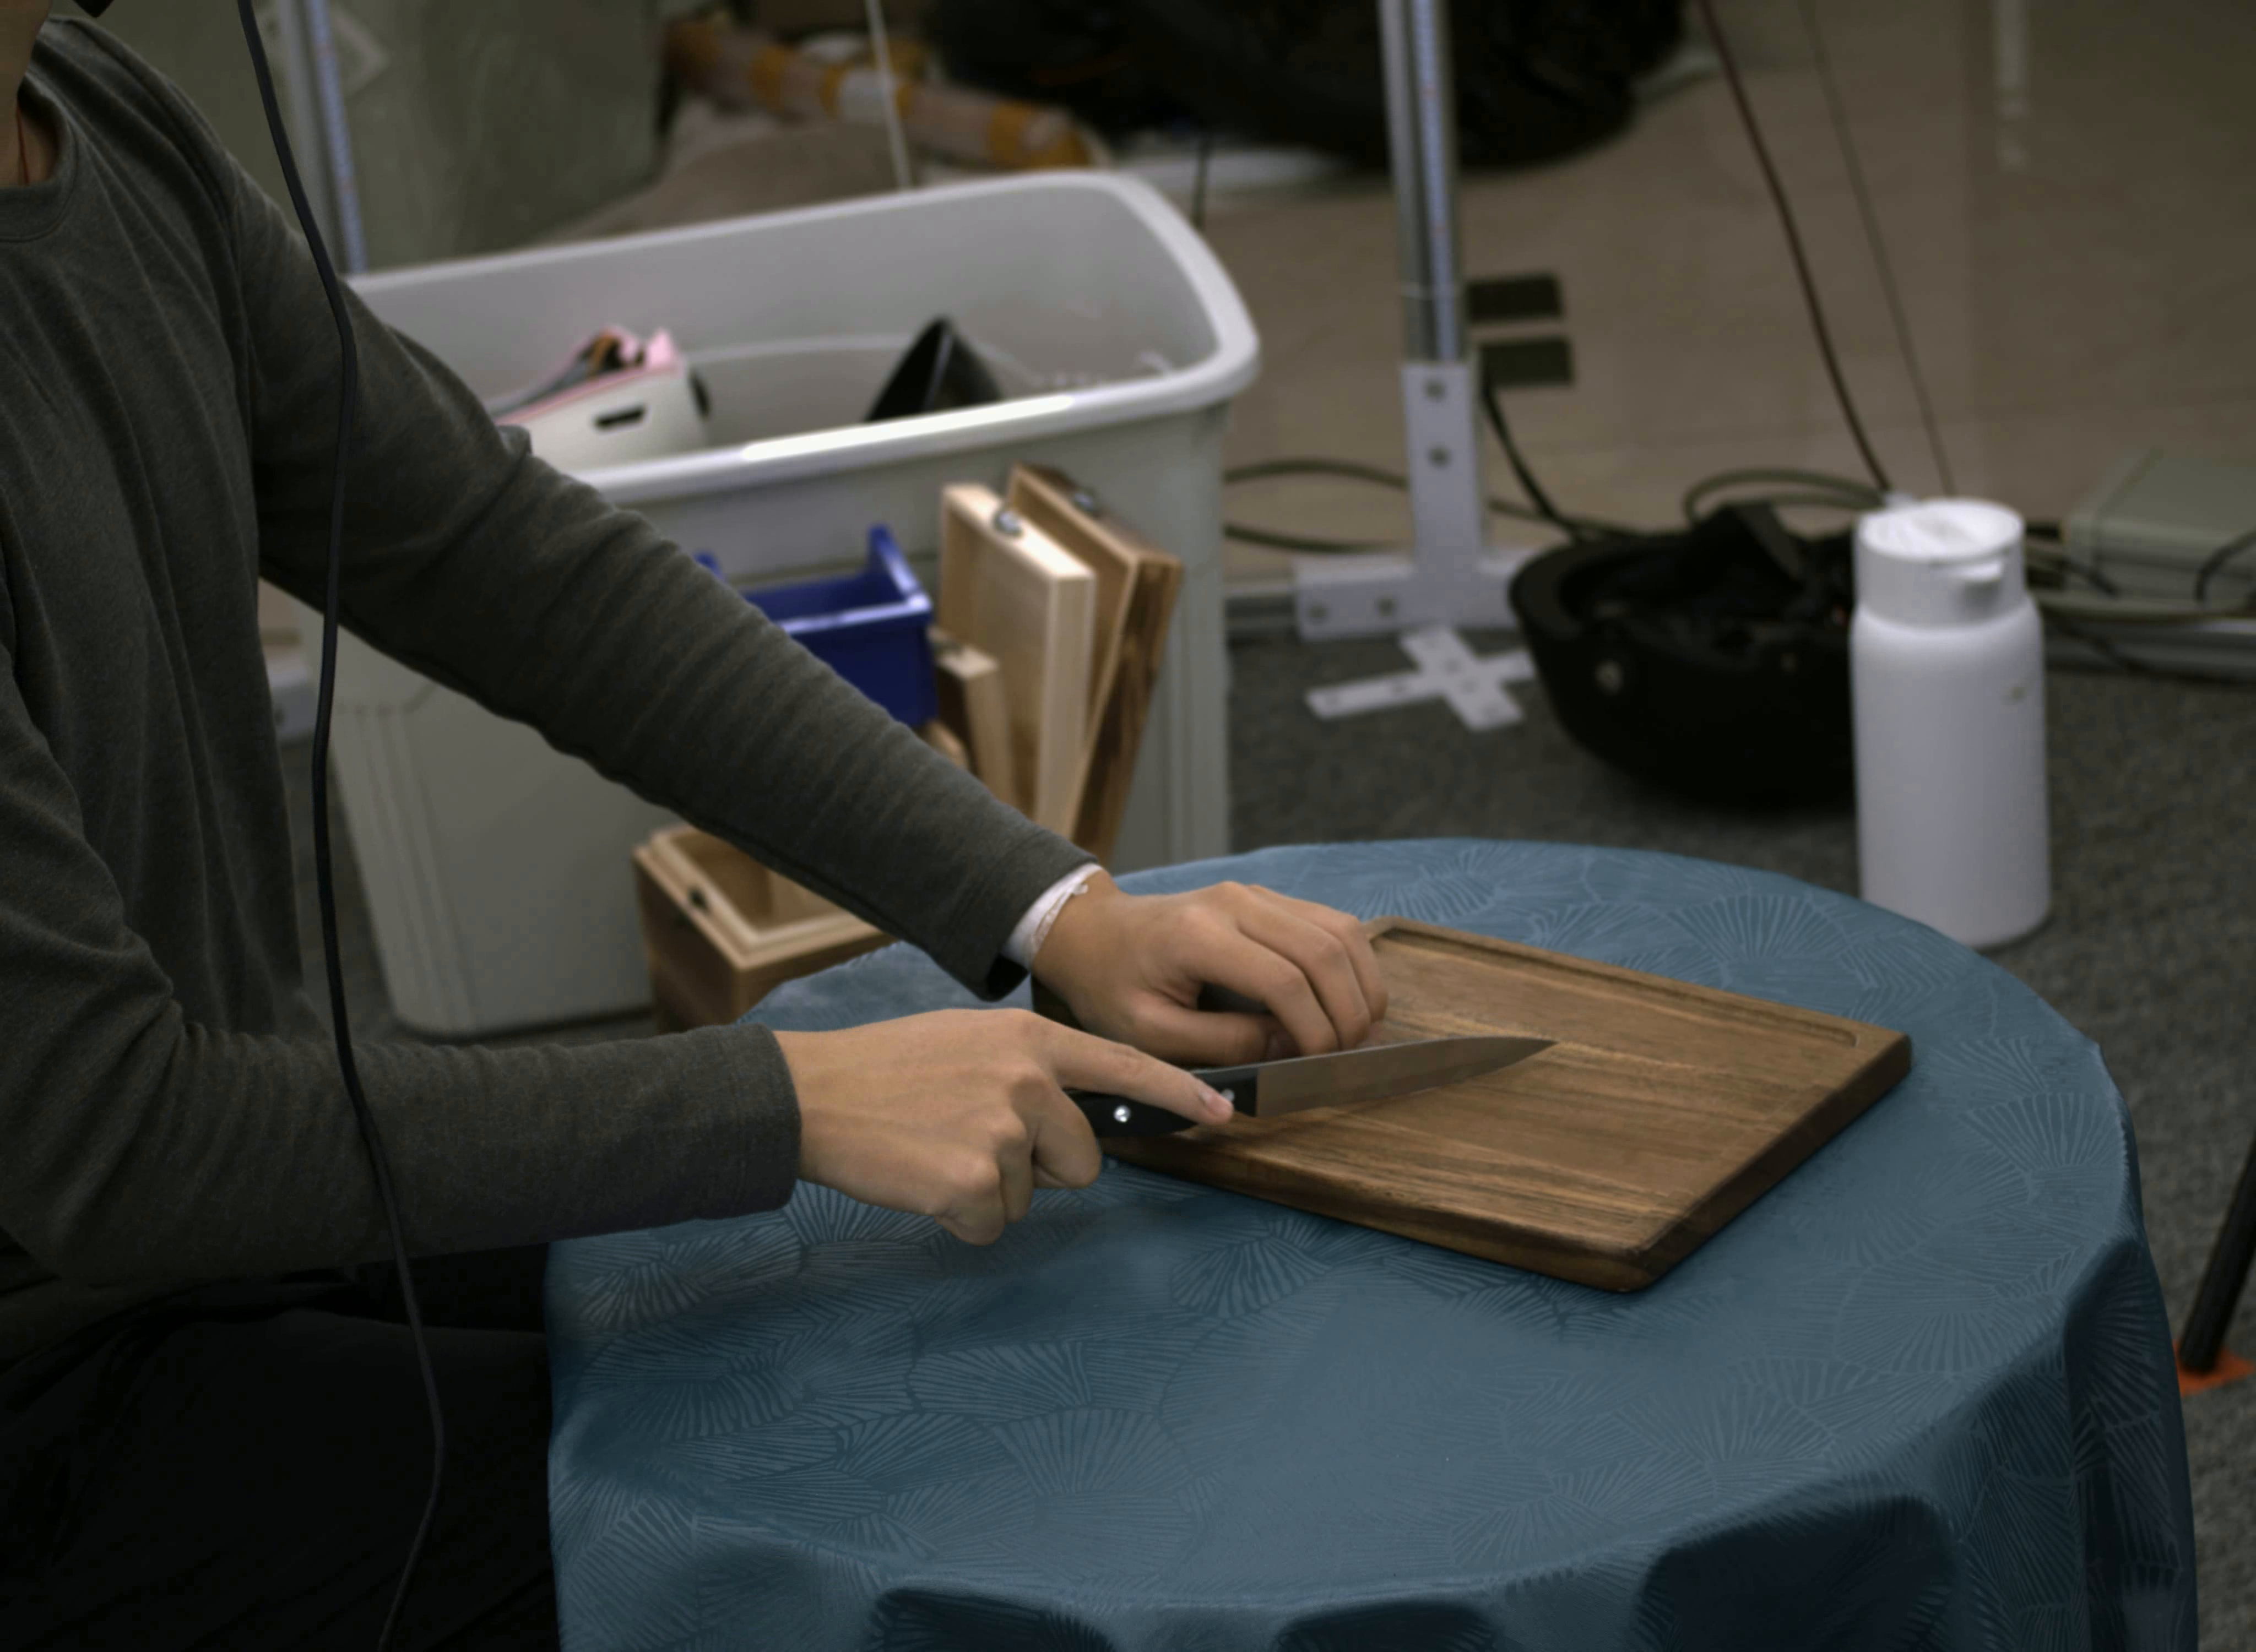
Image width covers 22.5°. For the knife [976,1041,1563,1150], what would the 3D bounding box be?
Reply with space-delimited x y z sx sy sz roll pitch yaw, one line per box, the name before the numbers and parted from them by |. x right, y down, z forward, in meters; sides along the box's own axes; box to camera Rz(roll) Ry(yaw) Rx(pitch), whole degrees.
knife | 0.056 0.098 2.144 0.237 0.025 0.016 -7 24 -19

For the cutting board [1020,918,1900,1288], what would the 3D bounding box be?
cutting board | 0.102 0.093 2.201 0.350 0.023 0.199 12 30 36
